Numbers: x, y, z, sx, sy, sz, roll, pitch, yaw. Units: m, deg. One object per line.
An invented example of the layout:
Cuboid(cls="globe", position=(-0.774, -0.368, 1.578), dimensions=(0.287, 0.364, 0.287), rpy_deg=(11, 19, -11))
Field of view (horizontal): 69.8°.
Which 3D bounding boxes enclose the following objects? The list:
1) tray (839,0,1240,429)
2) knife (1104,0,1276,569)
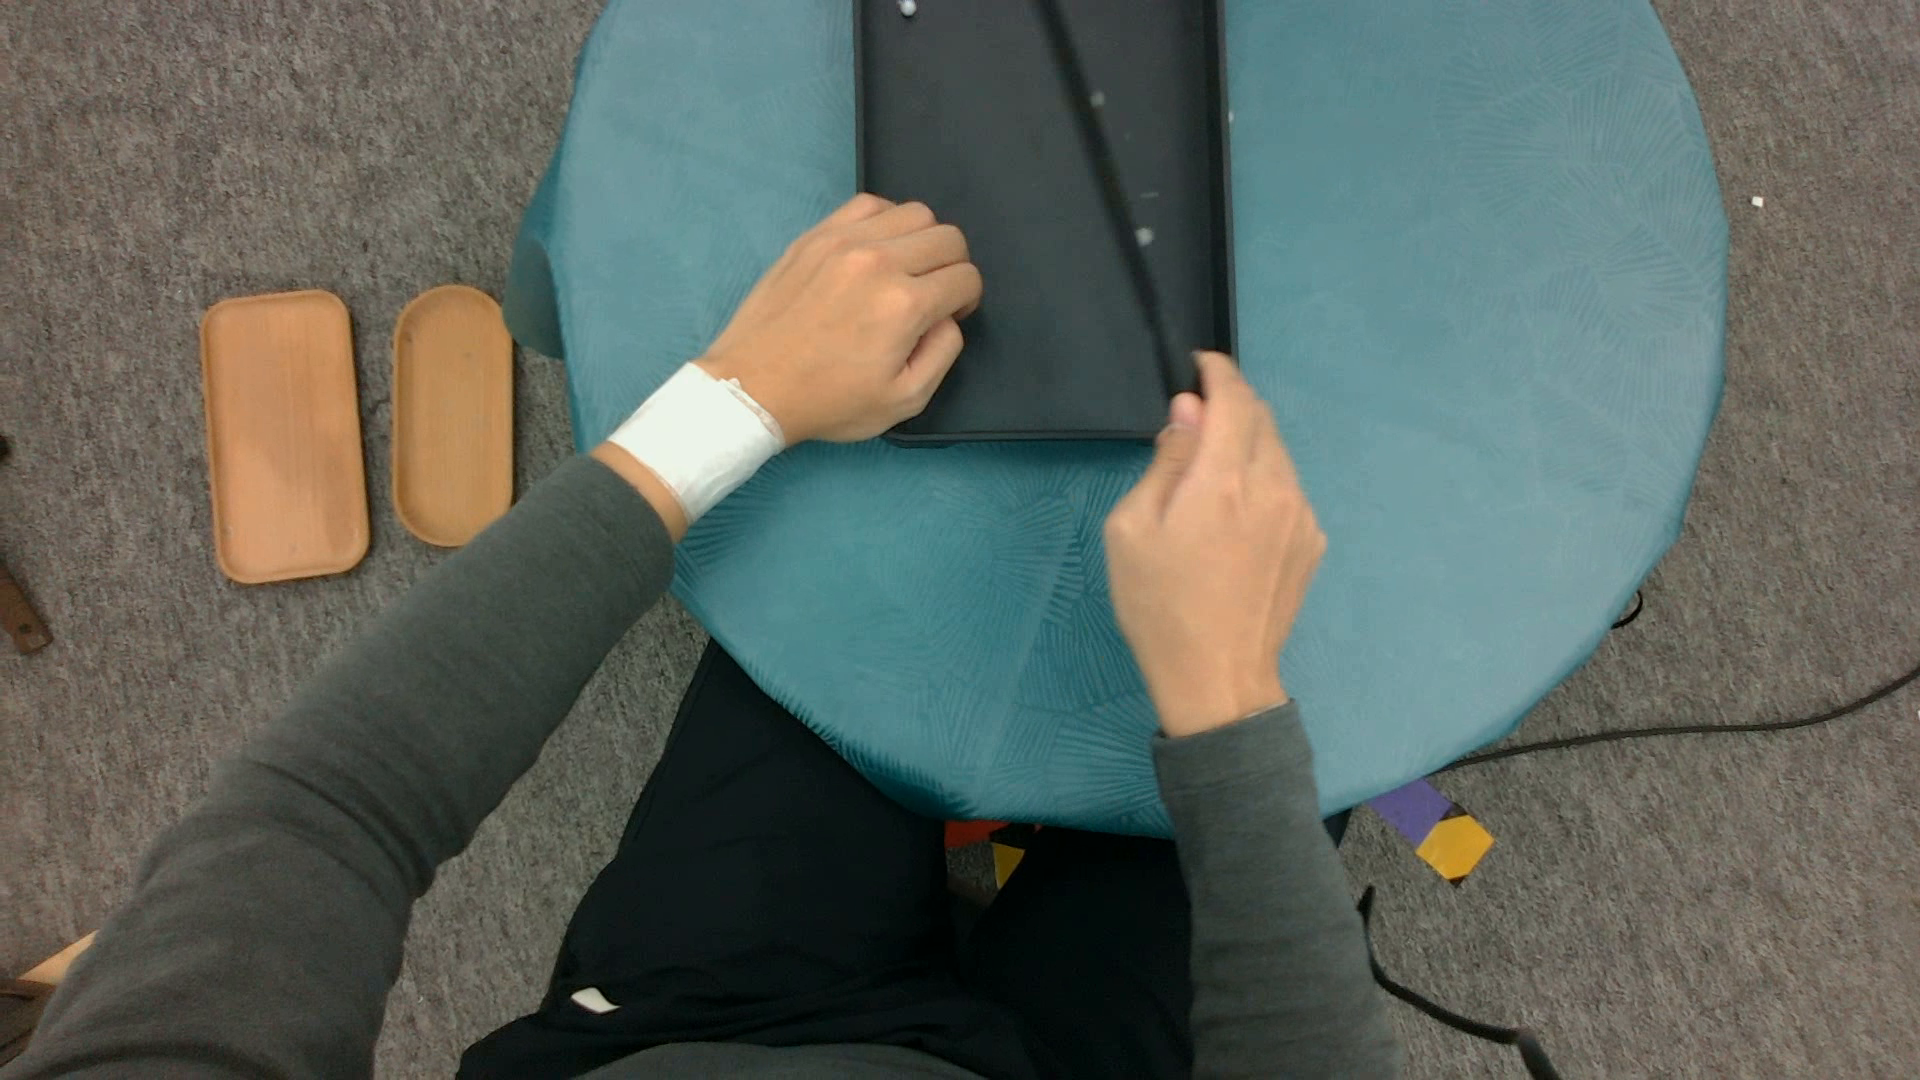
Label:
Cuboid(cls="tray", position=(0.034, -0.214, 0.683), dimensions=(0.184, 0.037, 0.318), rpy_deg=(-3, 83, -4))
Cuboid(cls="knife", position=(0.088, -0.131, 0.584), dimensions=(0.021, 0.081, 0.302), rpy_deg=(-15, 97, 12))
